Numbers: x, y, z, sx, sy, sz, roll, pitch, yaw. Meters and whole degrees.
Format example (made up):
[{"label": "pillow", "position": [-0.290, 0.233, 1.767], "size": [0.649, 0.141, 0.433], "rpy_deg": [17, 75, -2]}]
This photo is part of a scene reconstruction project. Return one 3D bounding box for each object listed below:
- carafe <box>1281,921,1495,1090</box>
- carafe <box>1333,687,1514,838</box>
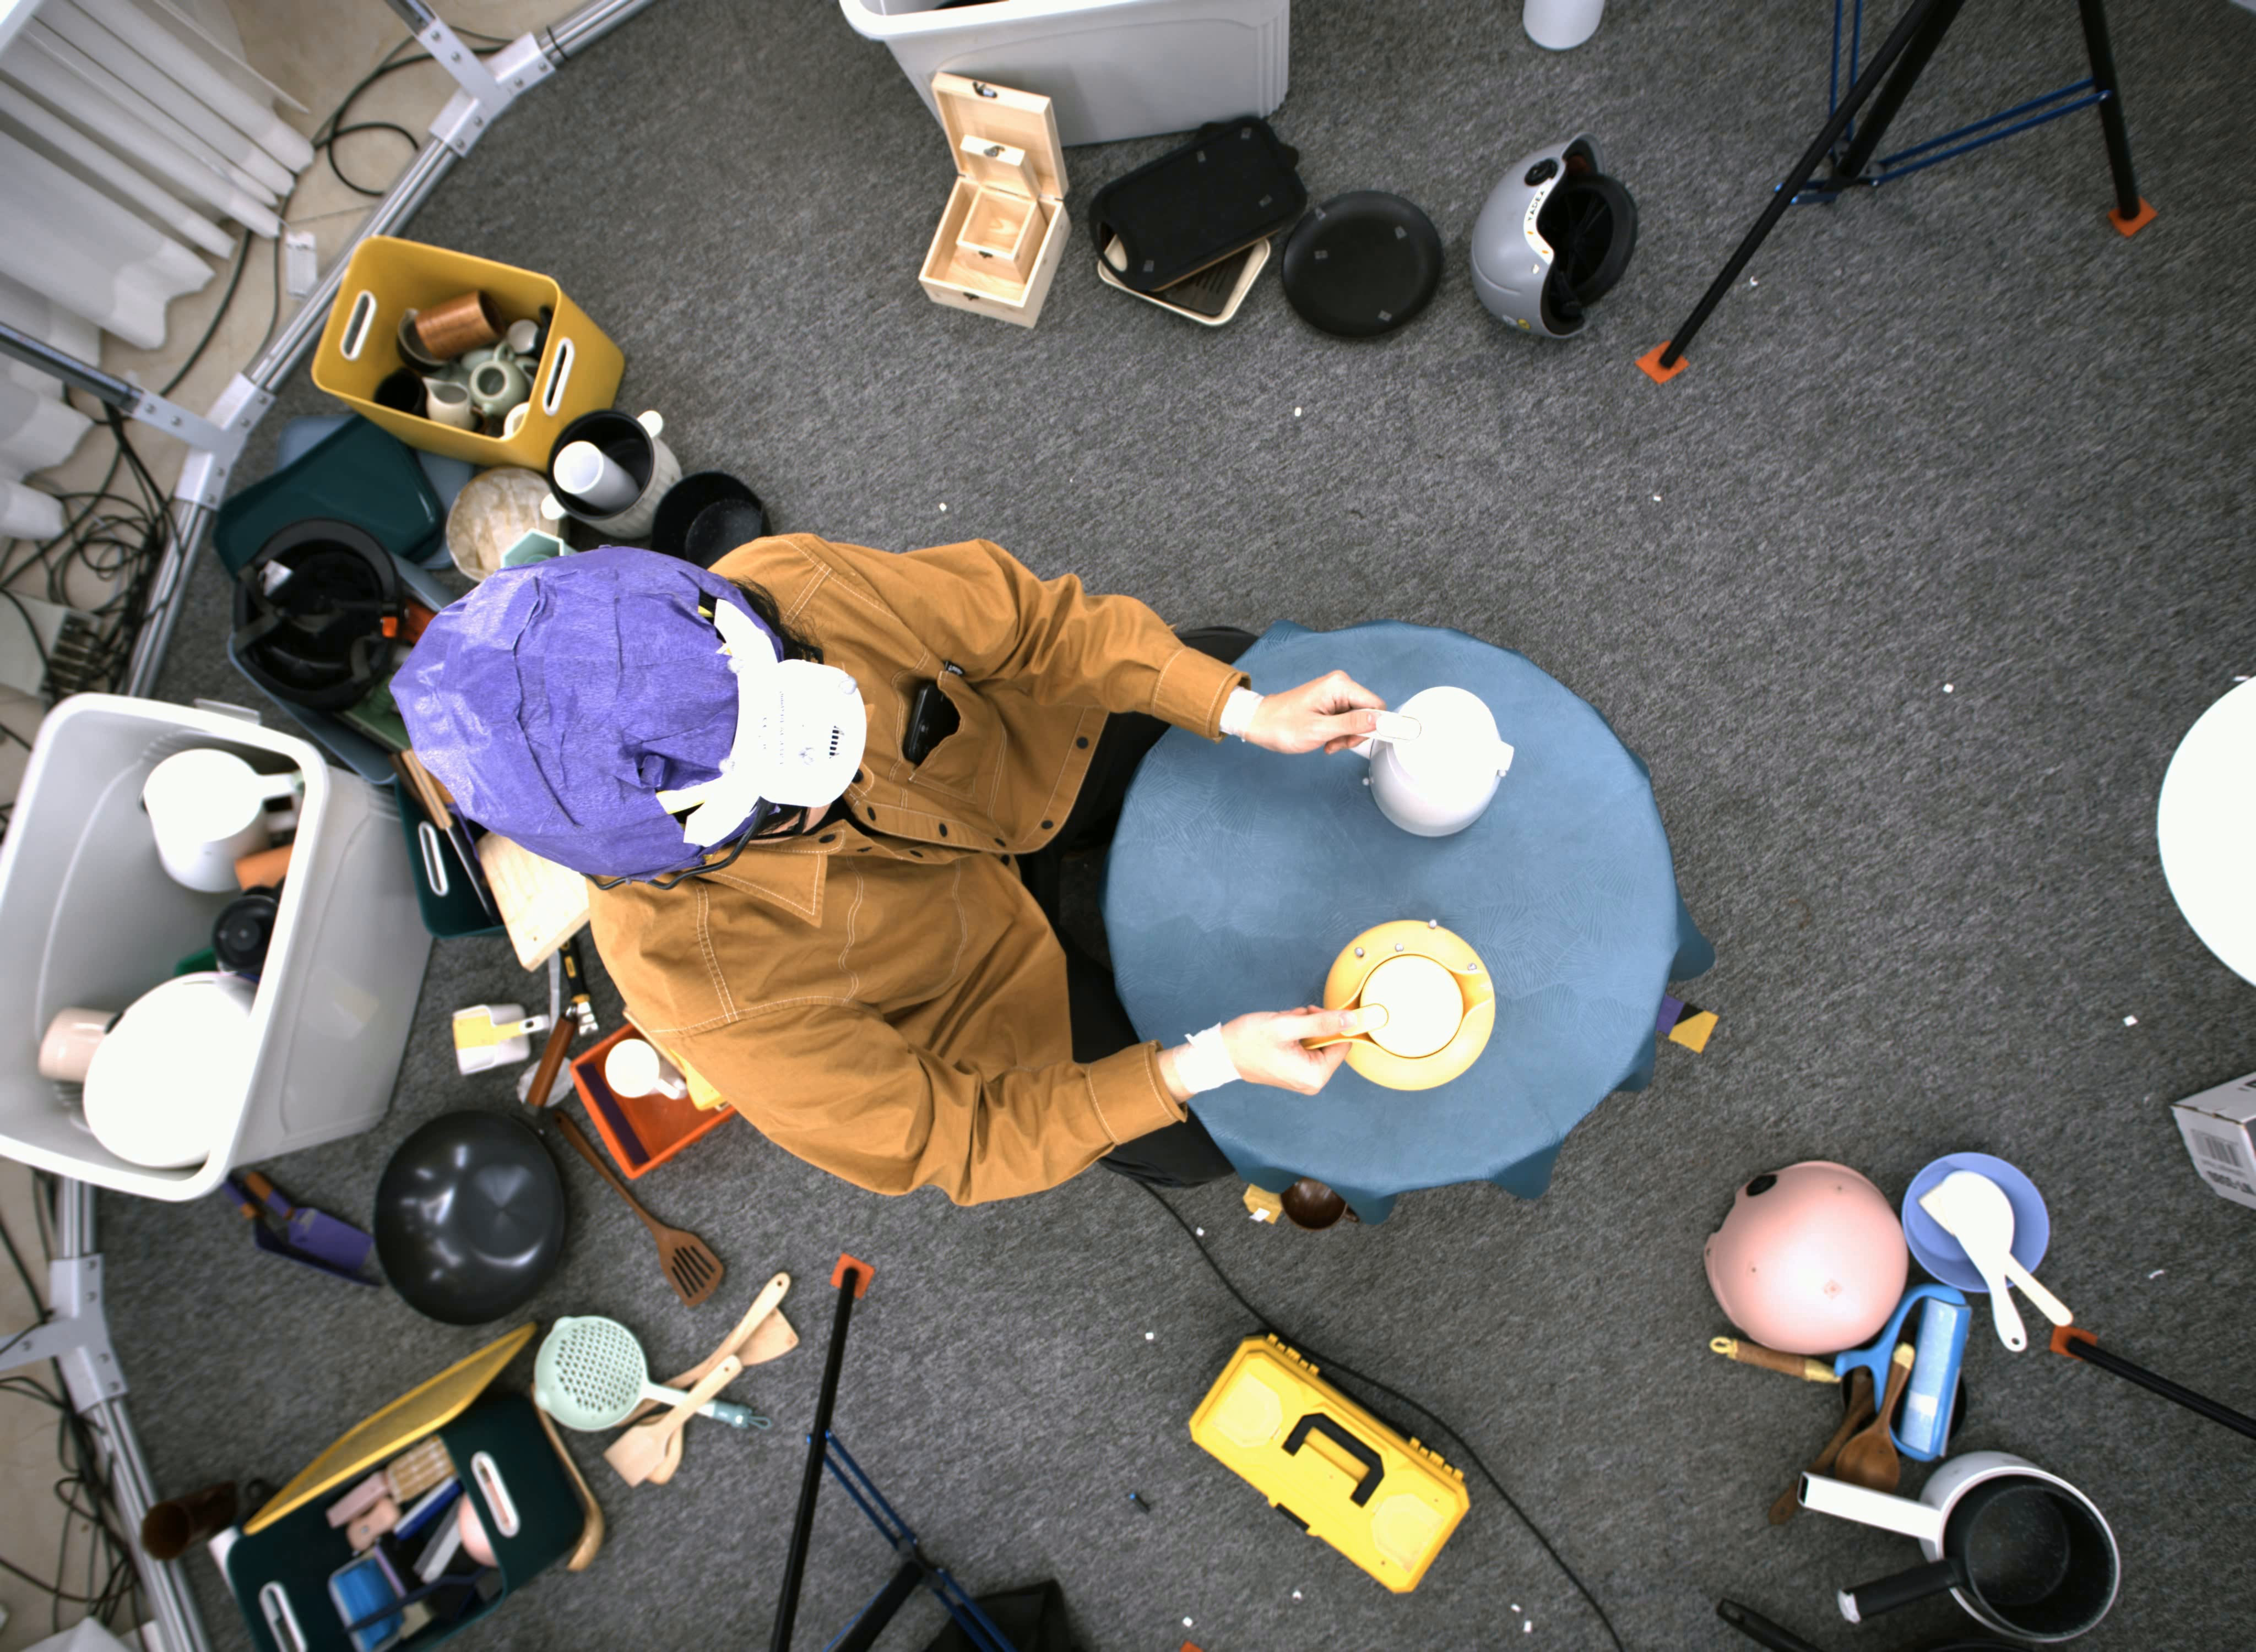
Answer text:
[{"label": "carafe", "position": [0.249, 0.174, 1.329], "size": [0.203, 0.261, 0.162], "rpy_deg": [-14, 81, 8]}, {"label": "carafe", "position": [0.283, -0.072, 1.339], "size": [0.168, 0.249, 0.132], "rpy_deg": [16, 88, 11]}]
